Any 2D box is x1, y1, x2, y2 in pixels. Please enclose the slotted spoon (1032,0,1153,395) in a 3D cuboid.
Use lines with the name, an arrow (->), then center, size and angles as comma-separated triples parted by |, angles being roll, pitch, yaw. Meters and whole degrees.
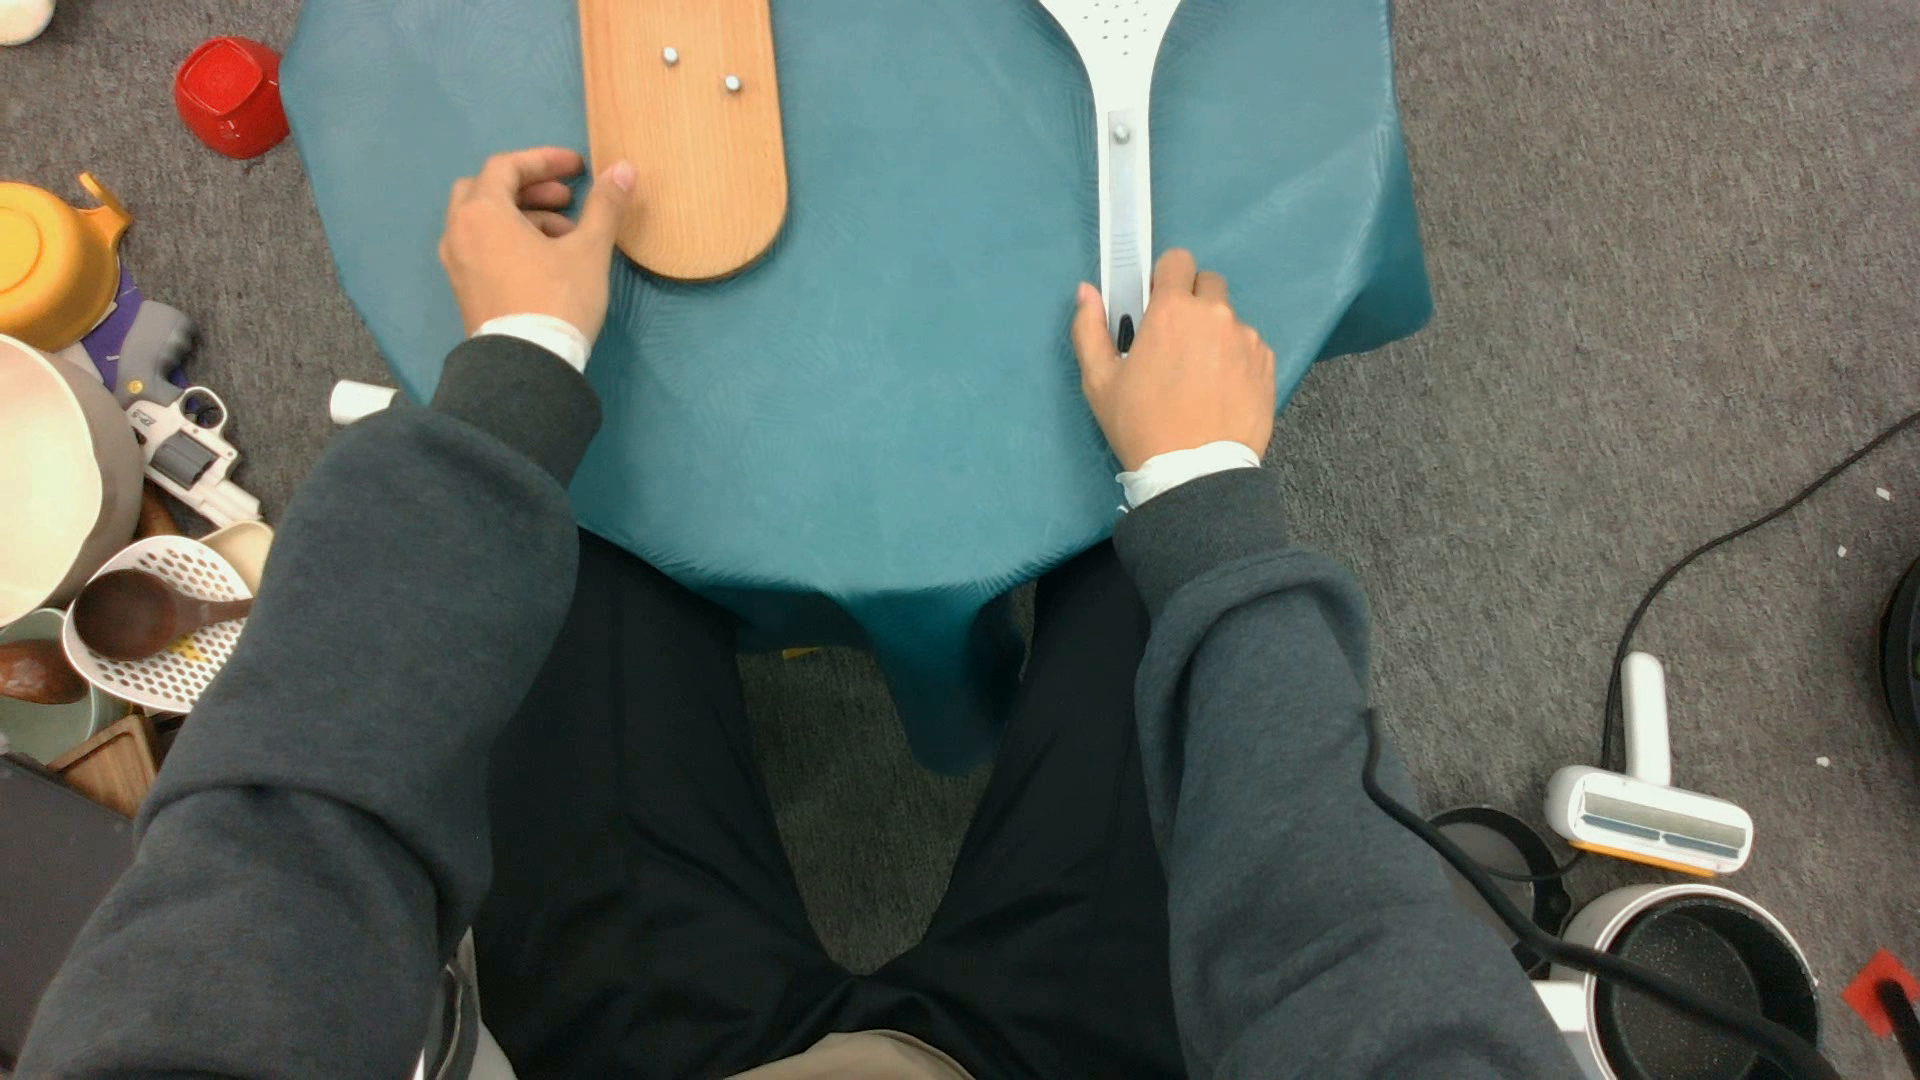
slotted spoon -> 0.077, -0.251, 0.738 | 0.136, 0.046, 0.350 | -3, 81, 19

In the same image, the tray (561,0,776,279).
tray -> -0.158, -0.250, 0.740 | 0.102, 0.020, 0.231 | -8, 81, -4
